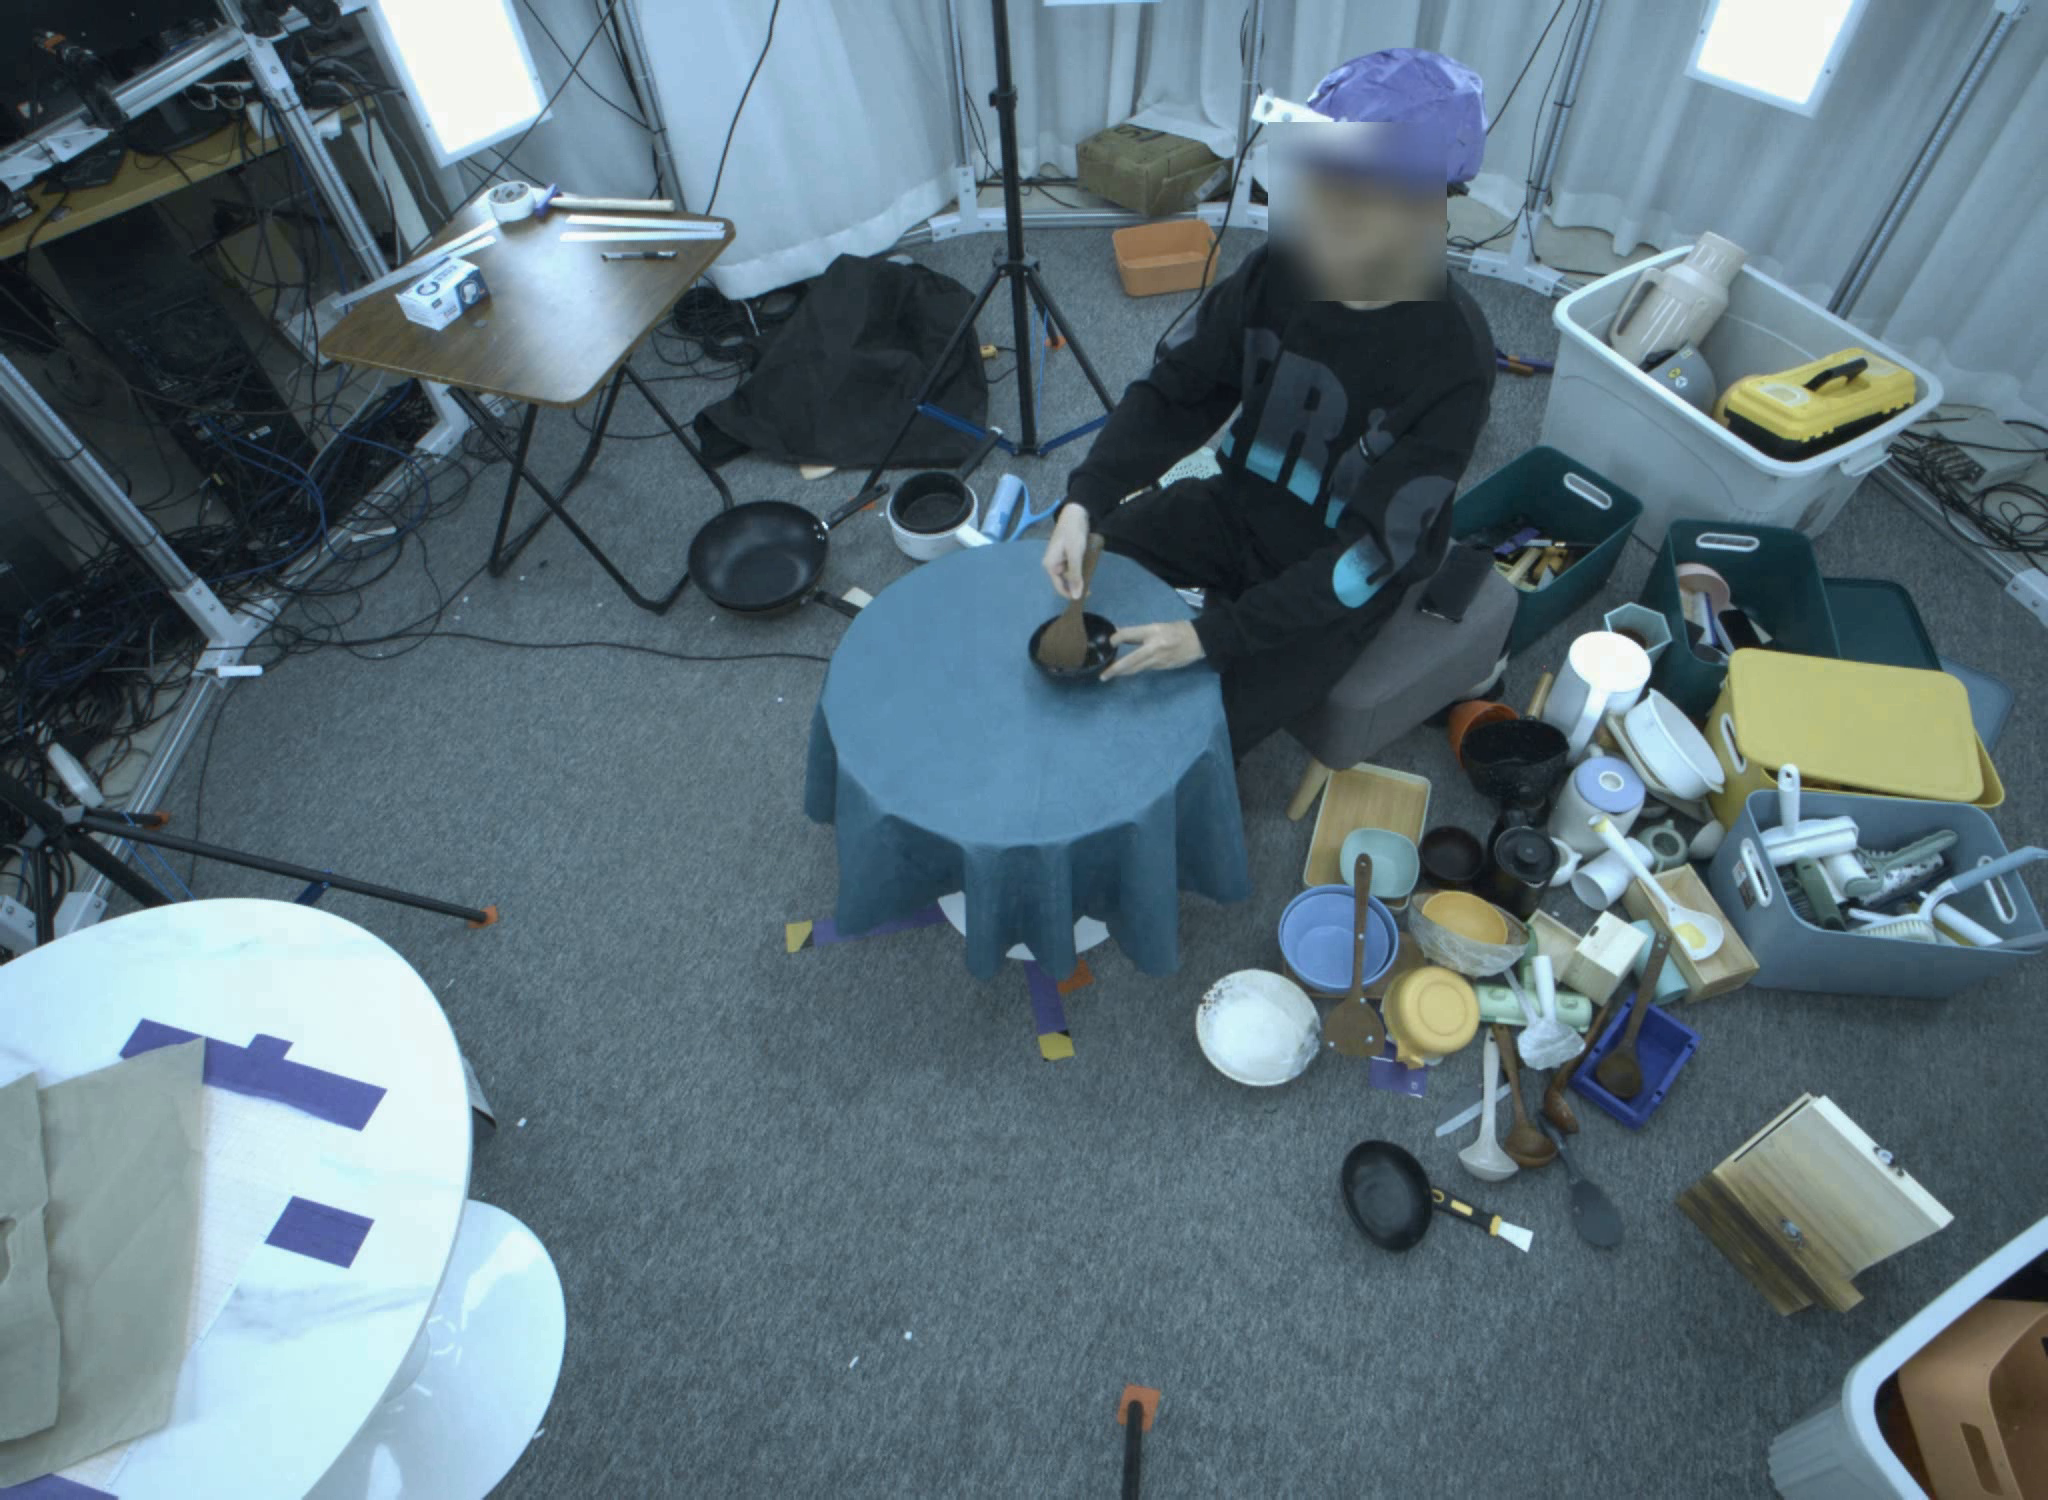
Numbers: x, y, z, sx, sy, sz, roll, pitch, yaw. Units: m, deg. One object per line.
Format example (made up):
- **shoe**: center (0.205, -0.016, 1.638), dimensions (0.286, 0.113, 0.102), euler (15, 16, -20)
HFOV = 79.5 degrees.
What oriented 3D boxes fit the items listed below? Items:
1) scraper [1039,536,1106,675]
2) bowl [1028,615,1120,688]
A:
- **scraper**: center (0.082, -0.217, 1.836), dimensions (0.075, 0.211, 0.011), euler (18, 17, 6)
- **bowl**: center (0.079, -0.139, 1.856), dimensions (0.139, 0.050, 0.138), euler (-7, 48, 9)
